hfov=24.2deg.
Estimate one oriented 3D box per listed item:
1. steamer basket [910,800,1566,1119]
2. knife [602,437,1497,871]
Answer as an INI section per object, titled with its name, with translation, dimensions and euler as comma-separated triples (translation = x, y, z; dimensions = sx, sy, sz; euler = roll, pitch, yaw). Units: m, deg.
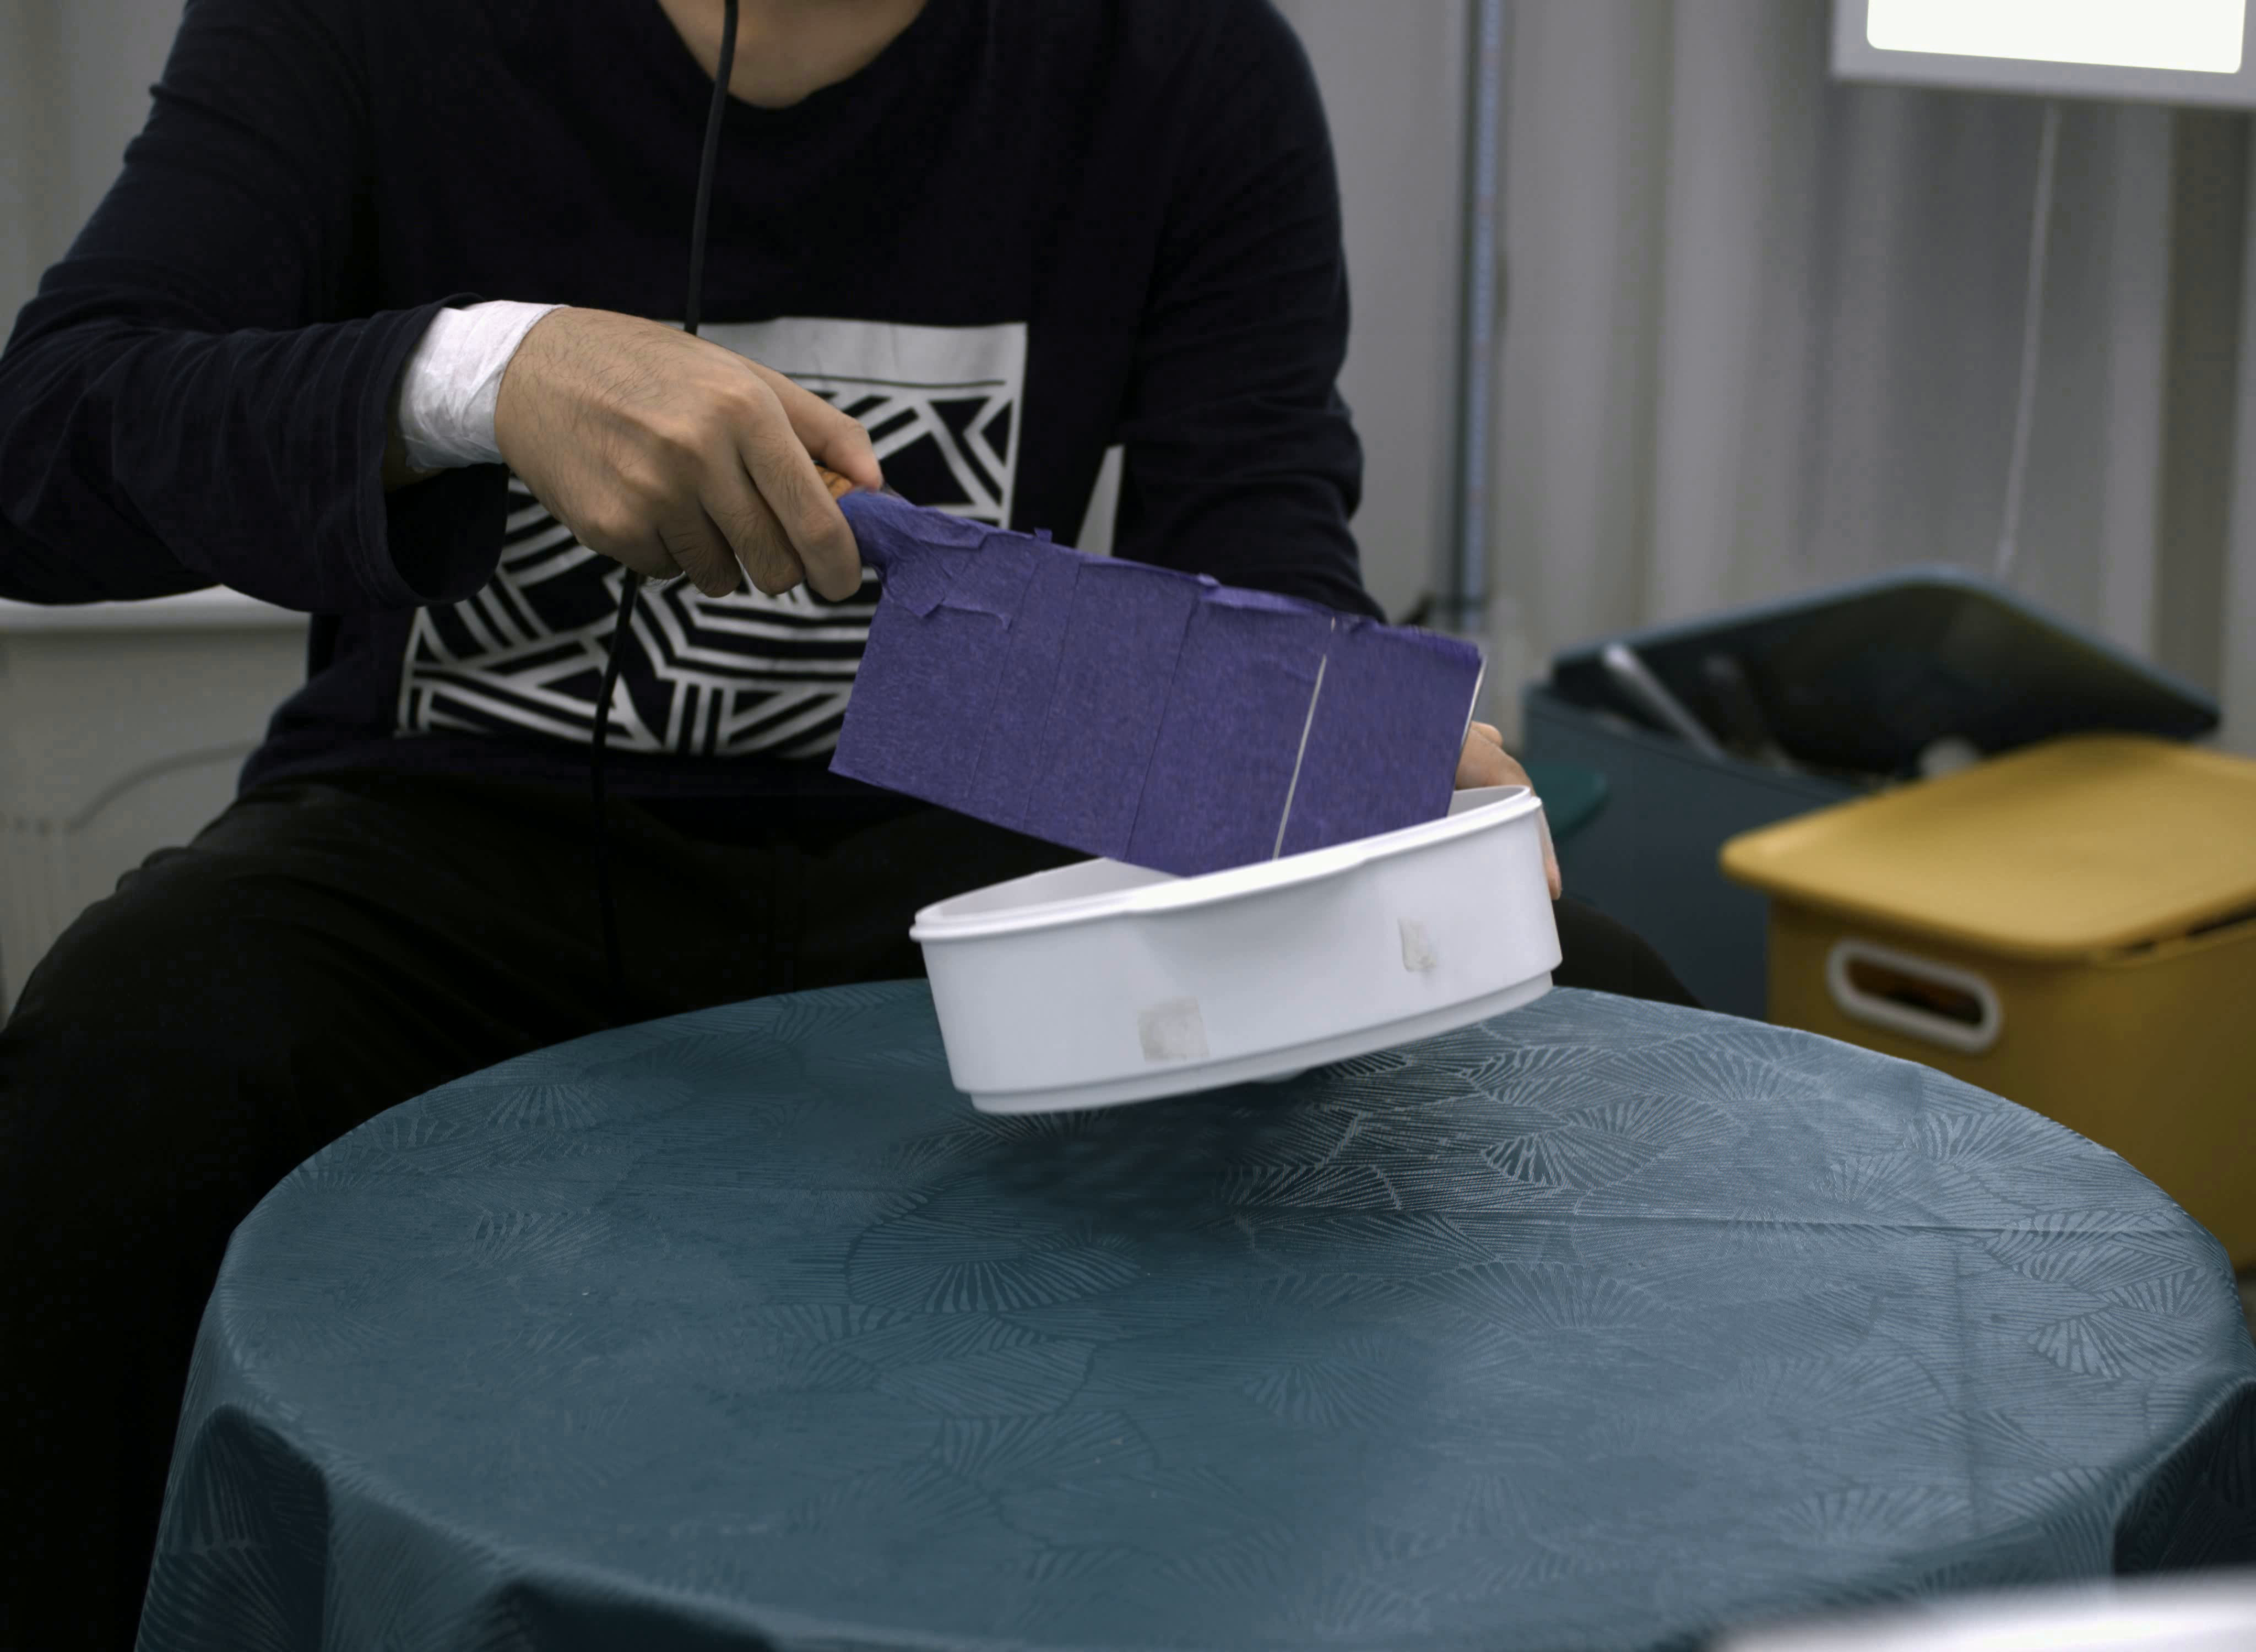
[steamer basket]
translation = 0.037, 0.043, 1.632
dimensions = 0.201, 0.069, 0.230
euler = -11, 1, -2
[knife]
translation = -0.038, -0.049, 1.645
dimensions = 0.311, 0.104, 0.032
euler = 15, -3, 26
